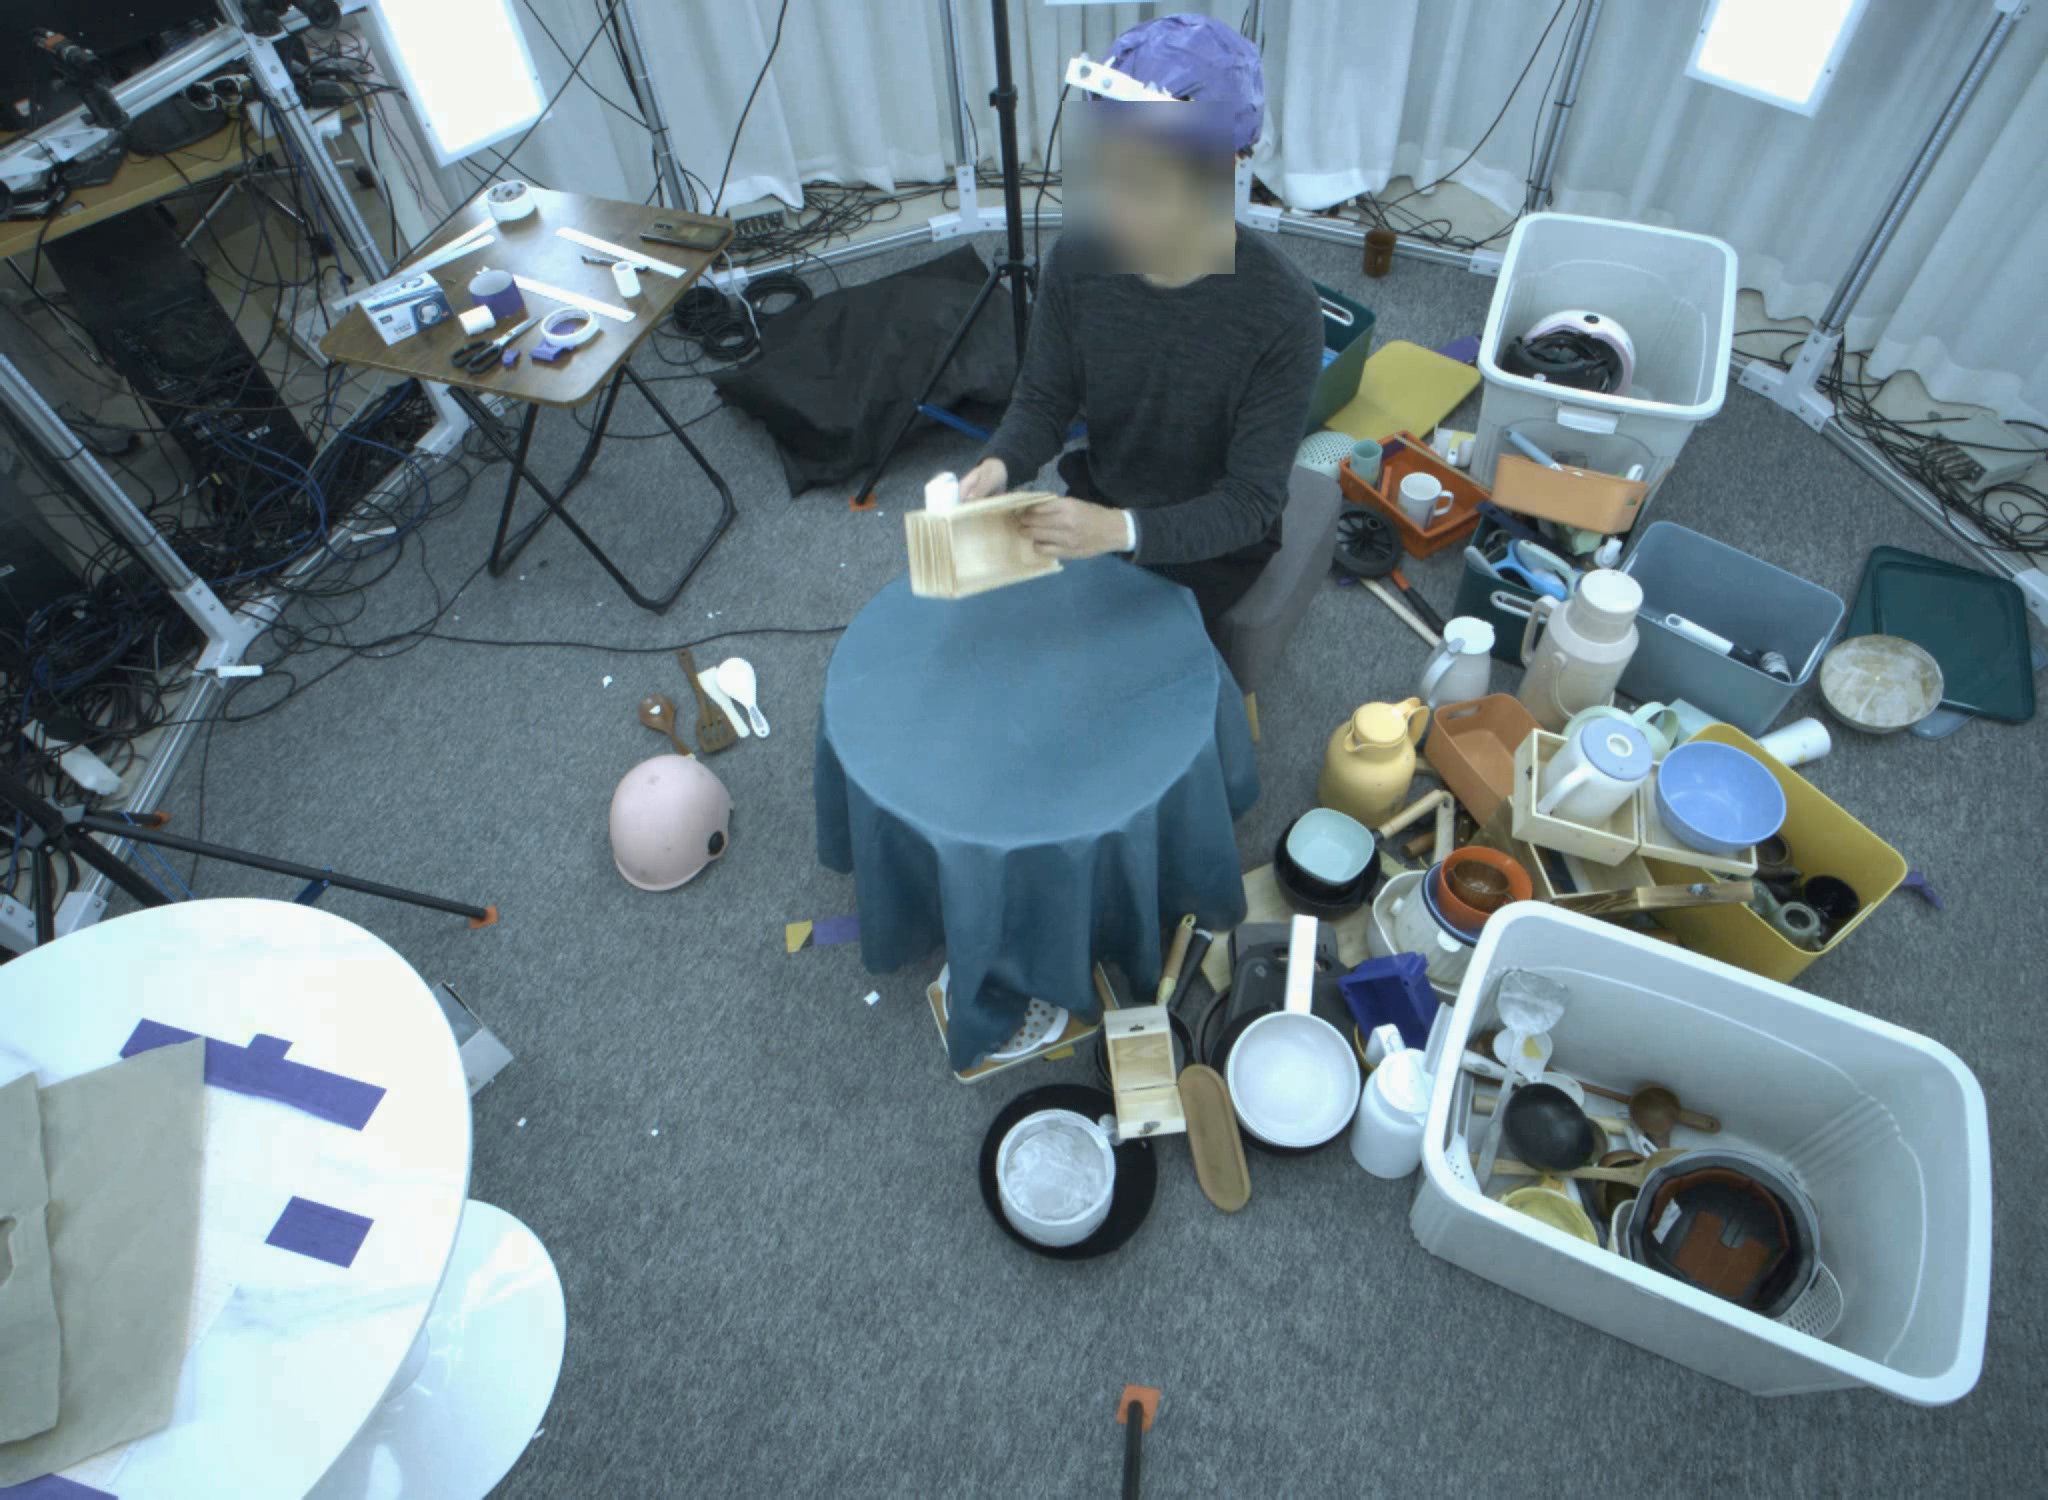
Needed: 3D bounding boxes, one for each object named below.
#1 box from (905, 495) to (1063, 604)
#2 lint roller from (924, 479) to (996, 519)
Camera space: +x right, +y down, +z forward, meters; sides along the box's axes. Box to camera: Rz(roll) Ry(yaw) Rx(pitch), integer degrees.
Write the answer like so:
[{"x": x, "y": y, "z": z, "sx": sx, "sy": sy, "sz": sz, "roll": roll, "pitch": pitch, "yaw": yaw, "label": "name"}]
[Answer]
[{"x": -0.050, "y": -0.269, "z": 1.621, "sx": 0.078, "sy": 0.108, "sz": 0.214, "roll": 11, "pitch": 25, "yaw": 40, "label": "box"}, {"x": -0.091, "y": -0.330, "z": 1.723, "sx": 0.049, "sy": 0.134, "sz": 0.181, "roll": 5, "pitch": 26, "yaw": 17, "label": "lint roller"}]
